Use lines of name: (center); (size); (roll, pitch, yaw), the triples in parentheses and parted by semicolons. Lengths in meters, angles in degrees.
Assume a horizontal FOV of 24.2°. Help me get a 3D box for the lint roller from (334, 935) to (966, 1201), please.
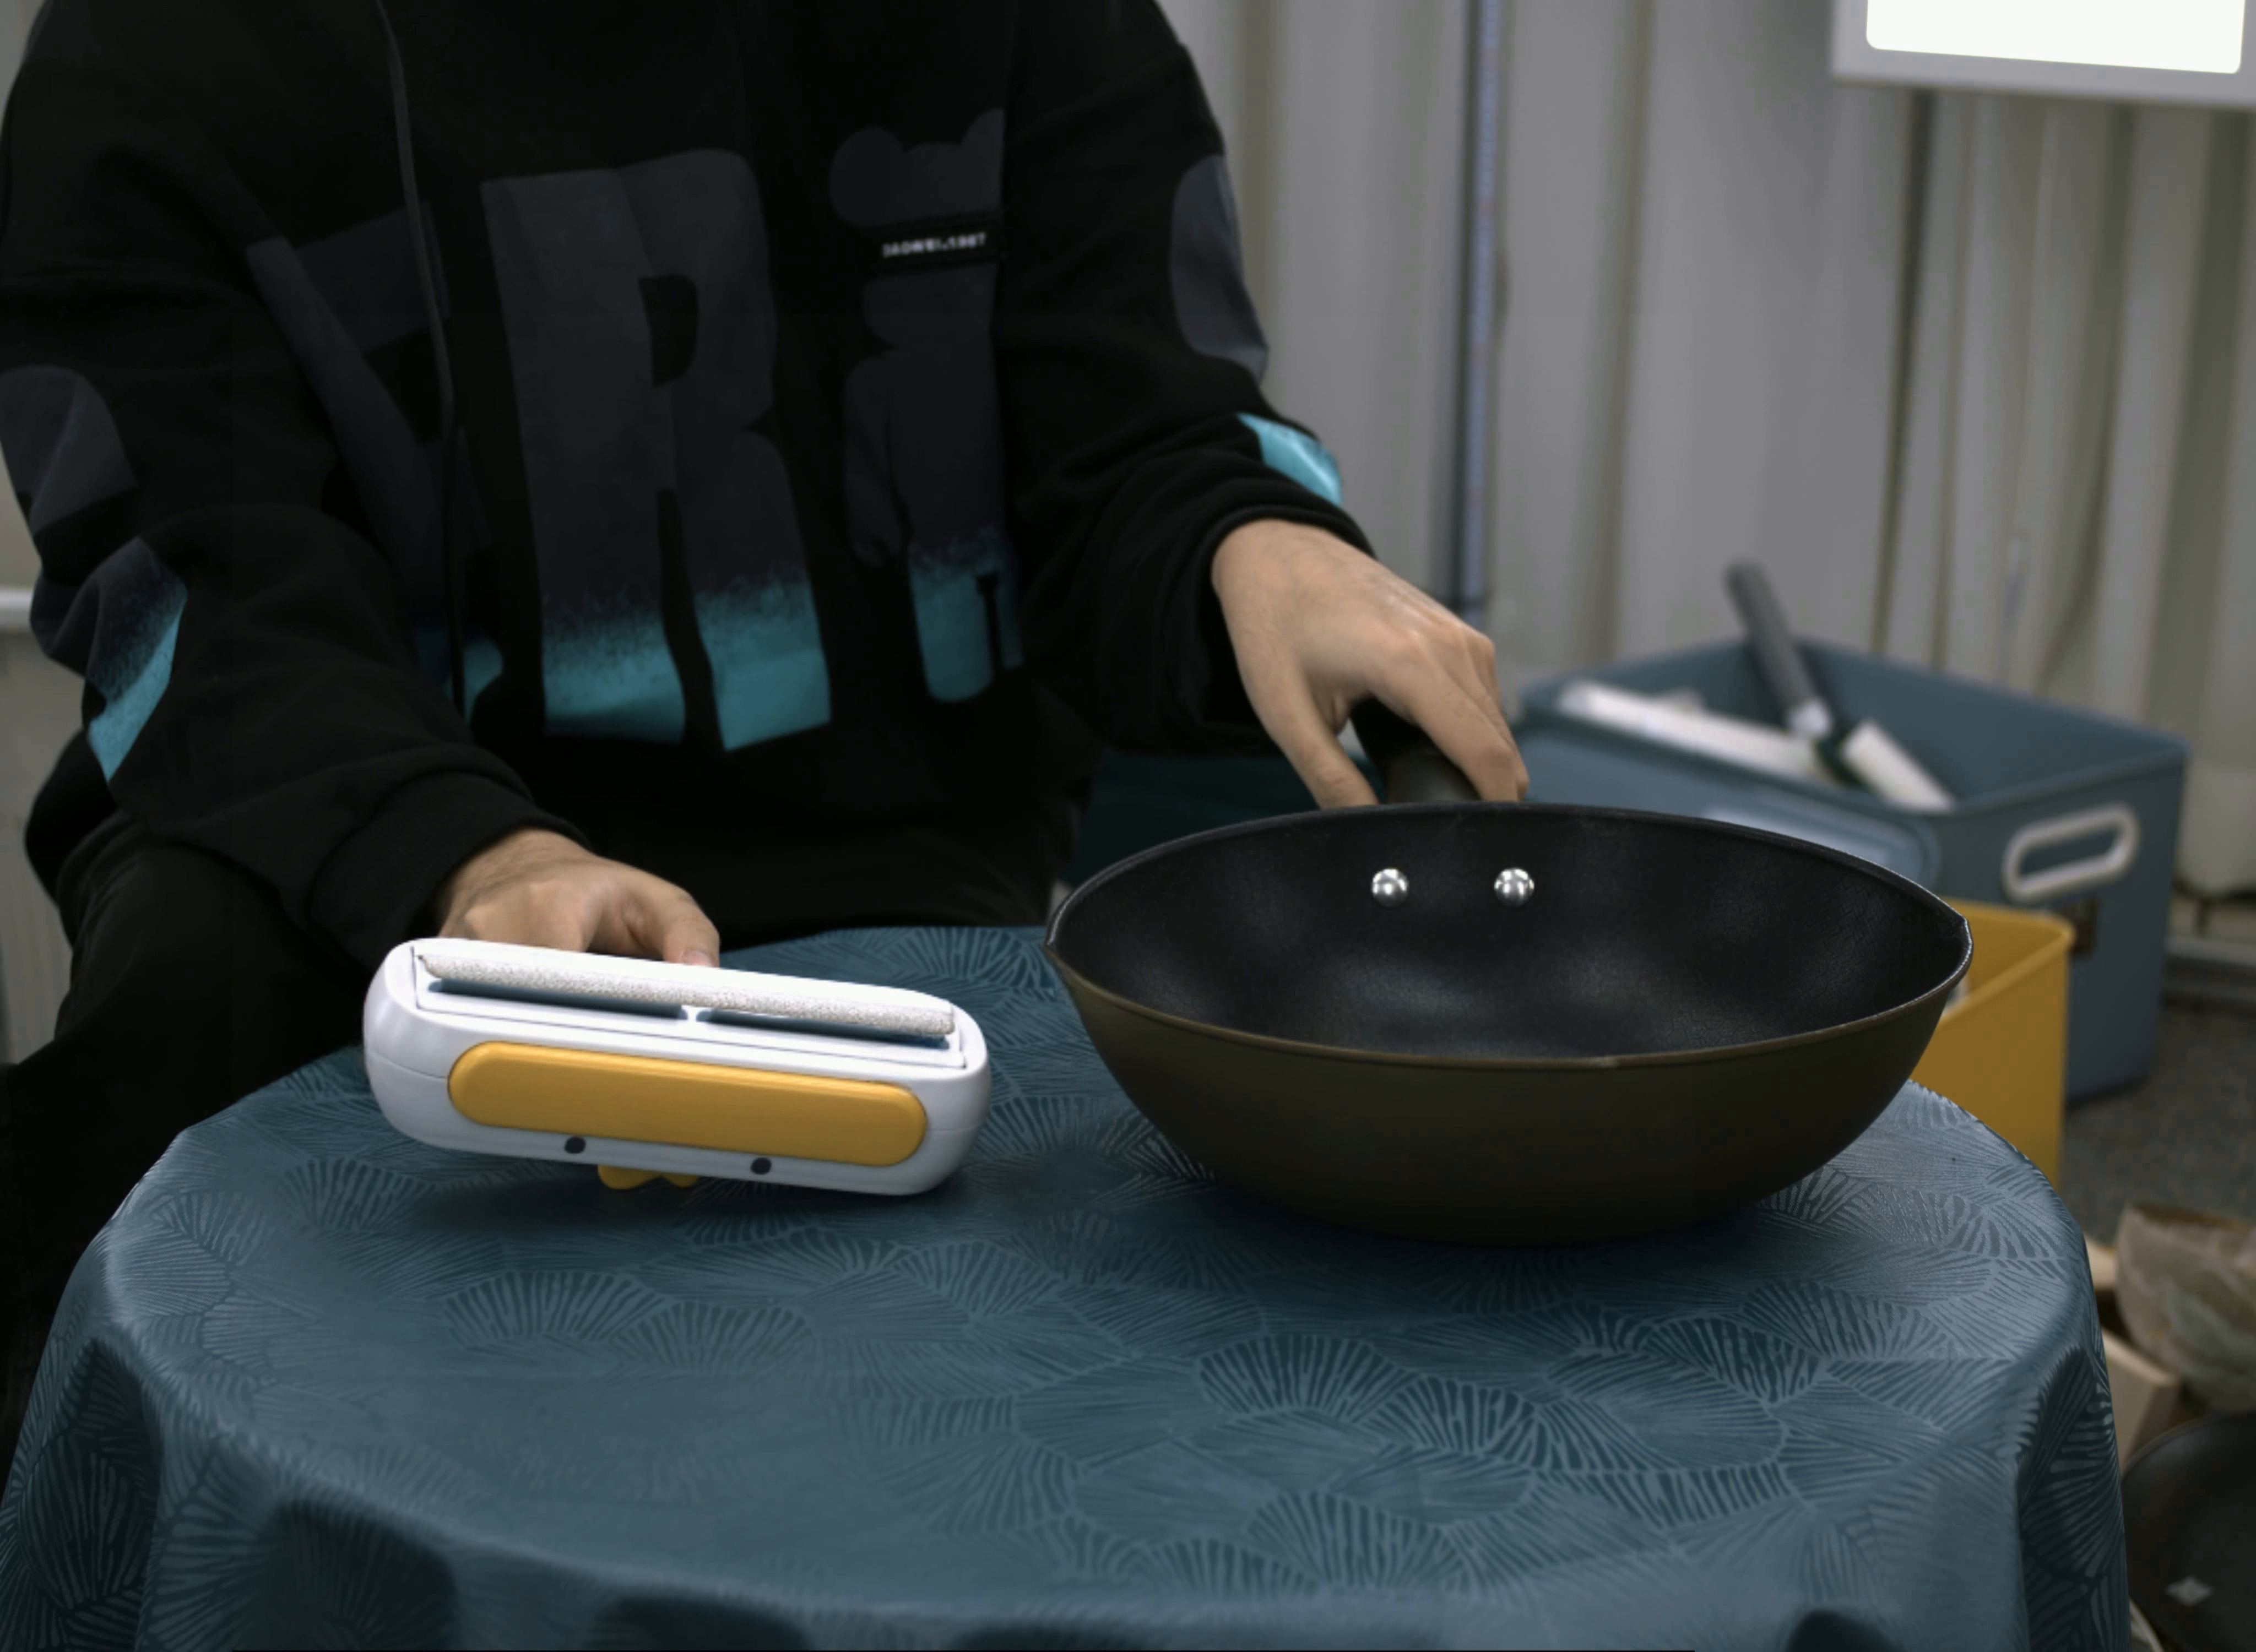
lint roller: (-0.153, 0.063, 1.657); (0.193, 0.075, 0.191); (4, 16, -9)

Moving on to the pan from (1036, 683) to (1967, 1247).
pan: (0.109, 0.043, 1.716); (0.287, 0.087, 0.460); (-1, 15, -4)
